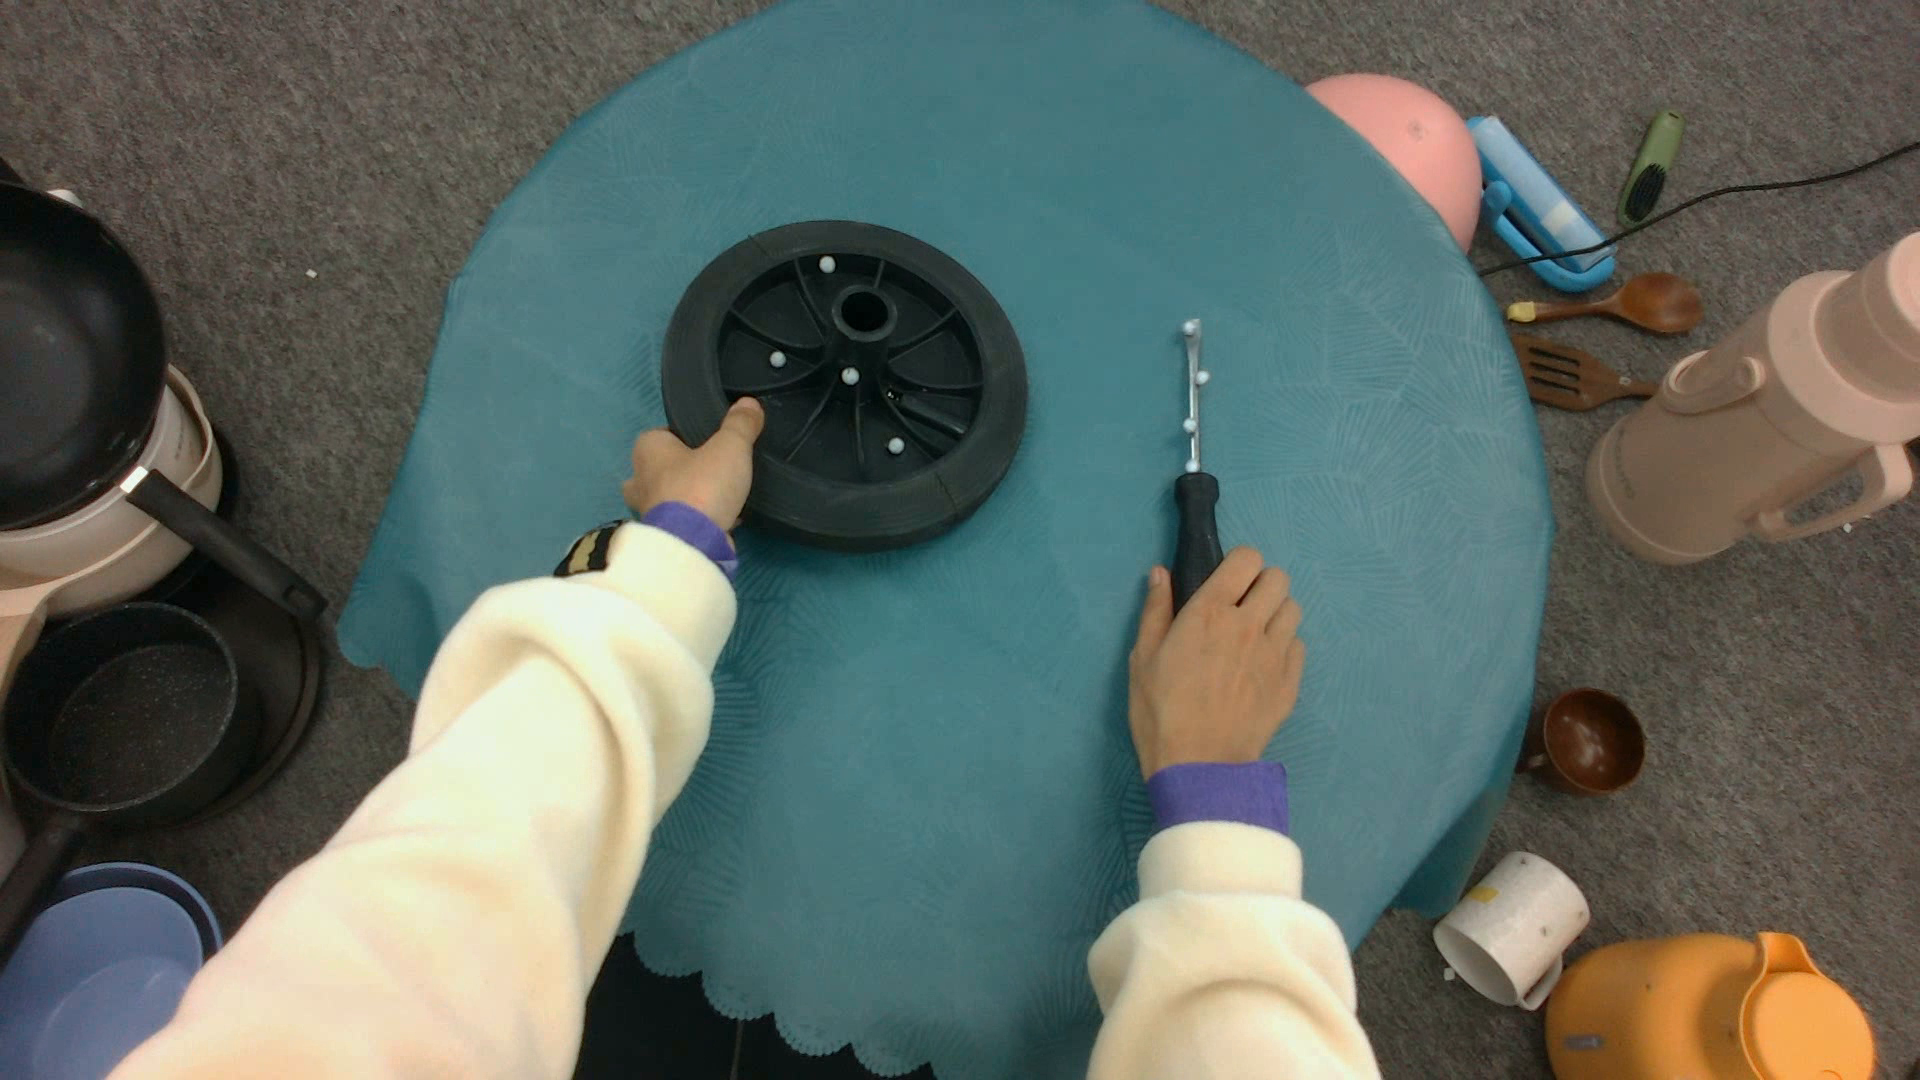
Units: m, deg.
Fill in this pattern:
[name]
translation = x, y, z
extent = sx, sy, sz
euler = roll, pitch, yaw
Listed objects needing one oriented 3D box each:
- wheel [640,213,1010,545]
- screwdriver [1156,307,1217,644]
[wheel]
translation = -0.062, -0.095, 0.689
extent = 0.190, 0.079, 0.188
euler = 4, 65, -15
[screwdriver]
translation = 0.117, -0.039, 0.722
extent = 0.031, 0.031, 0.198
euler = 5, 65, -5
